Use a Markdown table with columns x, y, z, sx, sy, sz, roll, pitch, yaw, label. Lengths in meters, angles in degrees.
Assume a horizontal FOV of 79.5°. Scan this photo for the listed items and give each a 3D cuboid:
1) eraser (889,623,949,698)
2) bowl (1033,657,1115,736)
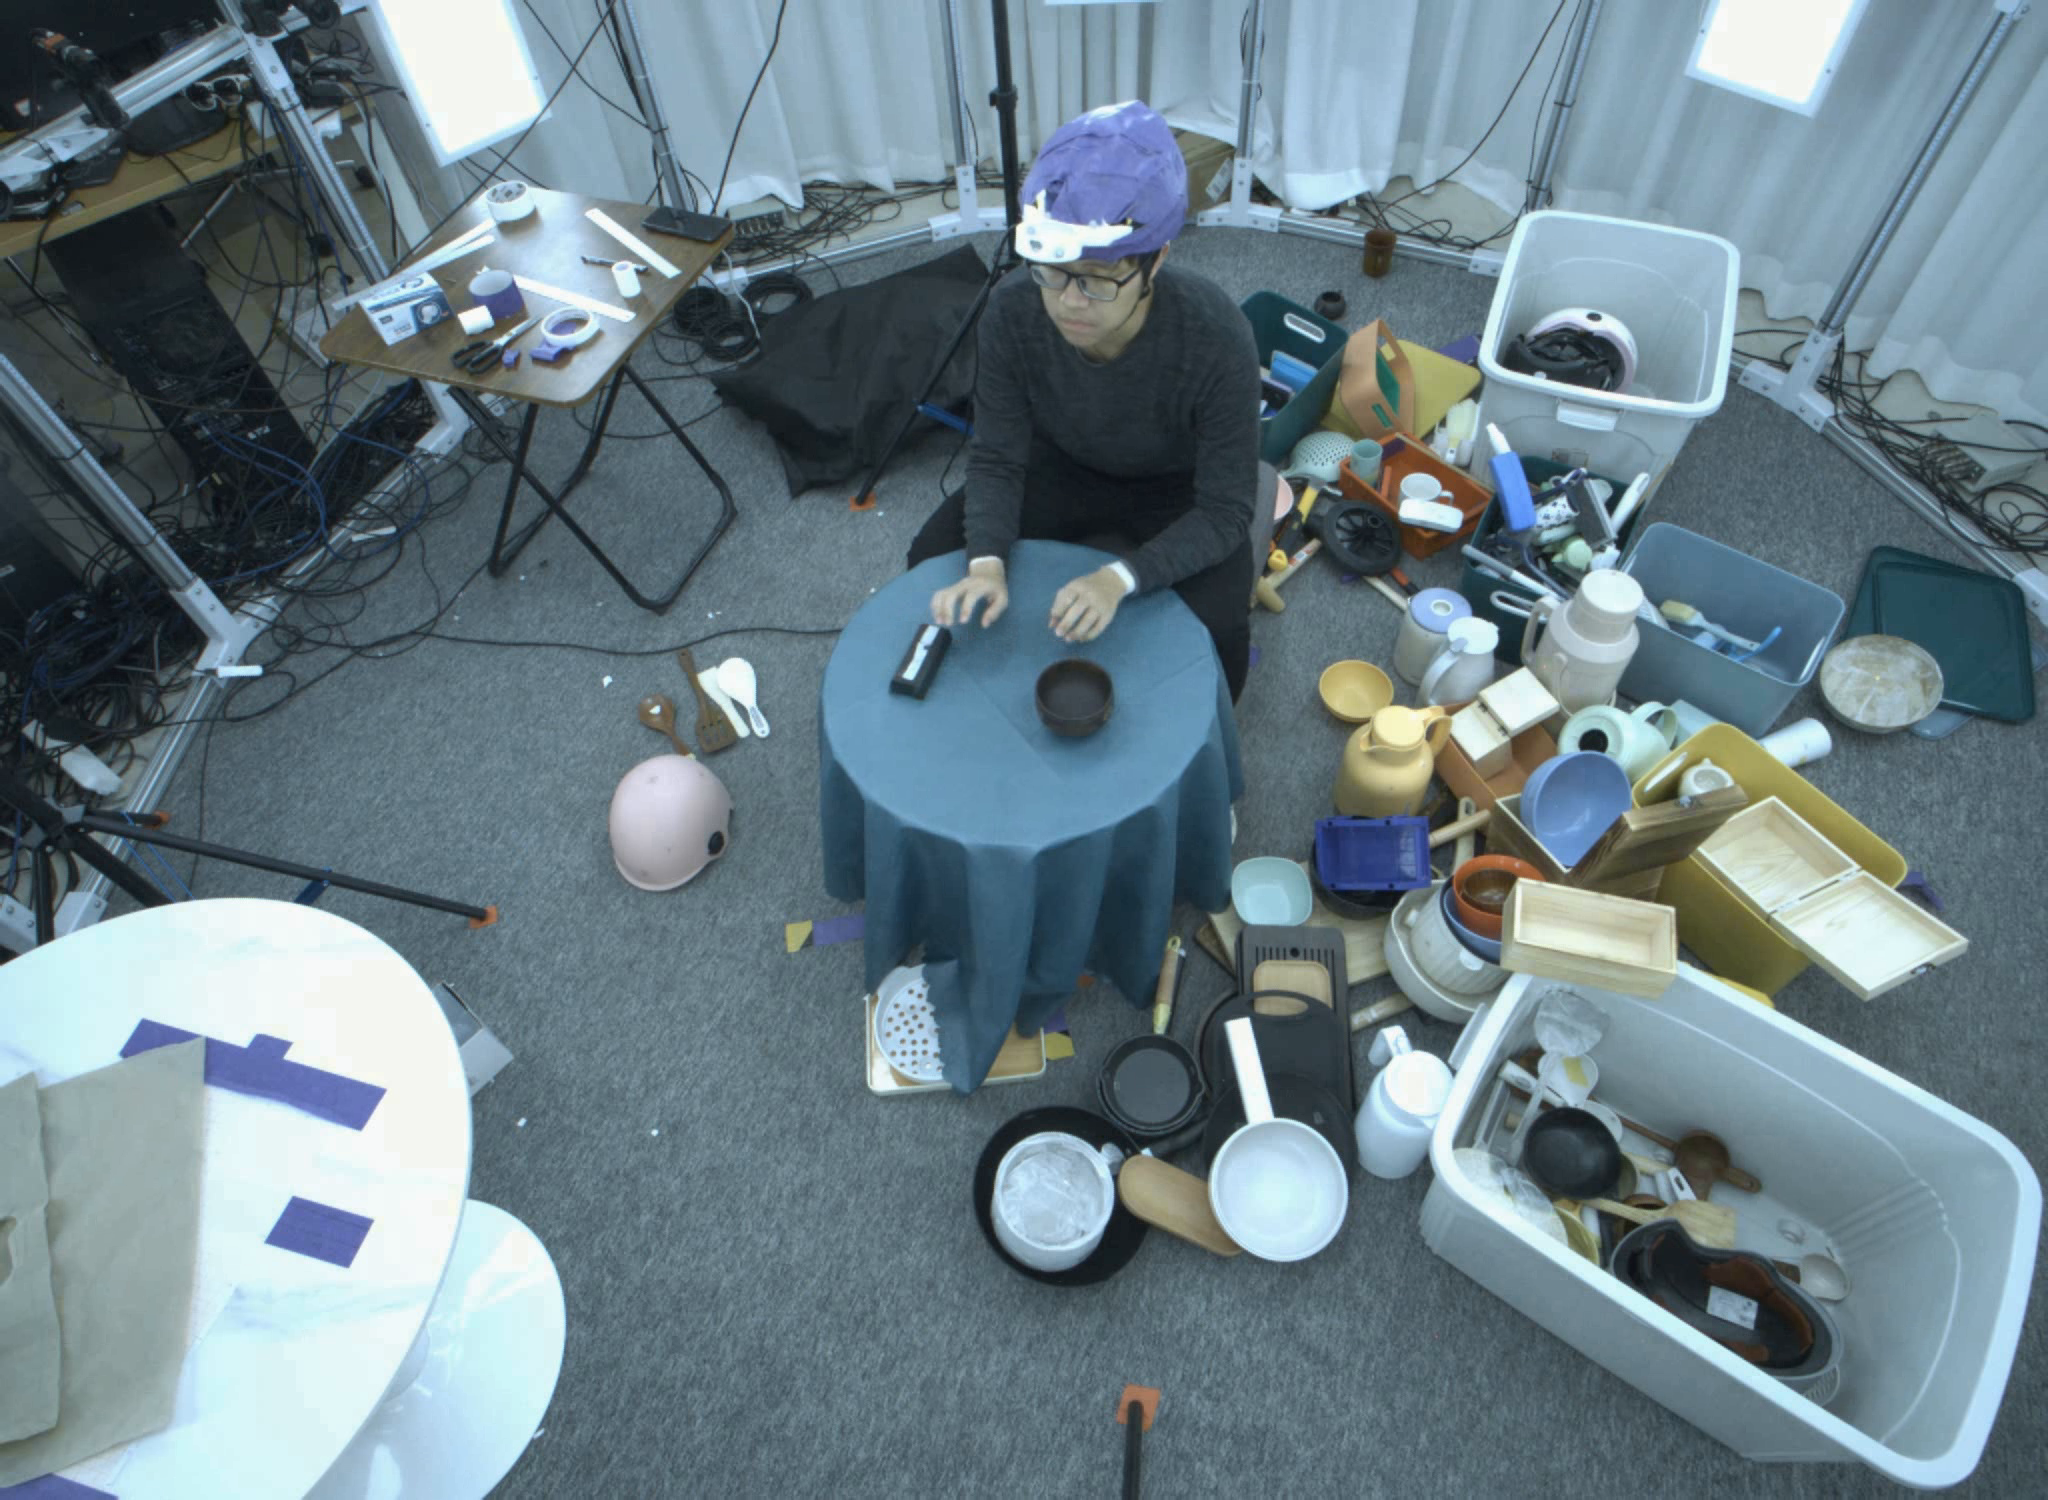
| x | y | z | sx | sy | sz | roll | pitch | yaw | label |
| --- | --- | --- | --- | --- | --- | --- | --- | --- | --- |
| -0.159 | -0.137 | 1.873 | 0.053 | 0.031 | 0.125 | 15 | 56 | 9 | eraser |
| 0.074 | -0.069 | 1.791 | 0.118 | 0.071 | 0.117 | -2 | 55 | 4 | bowl |
